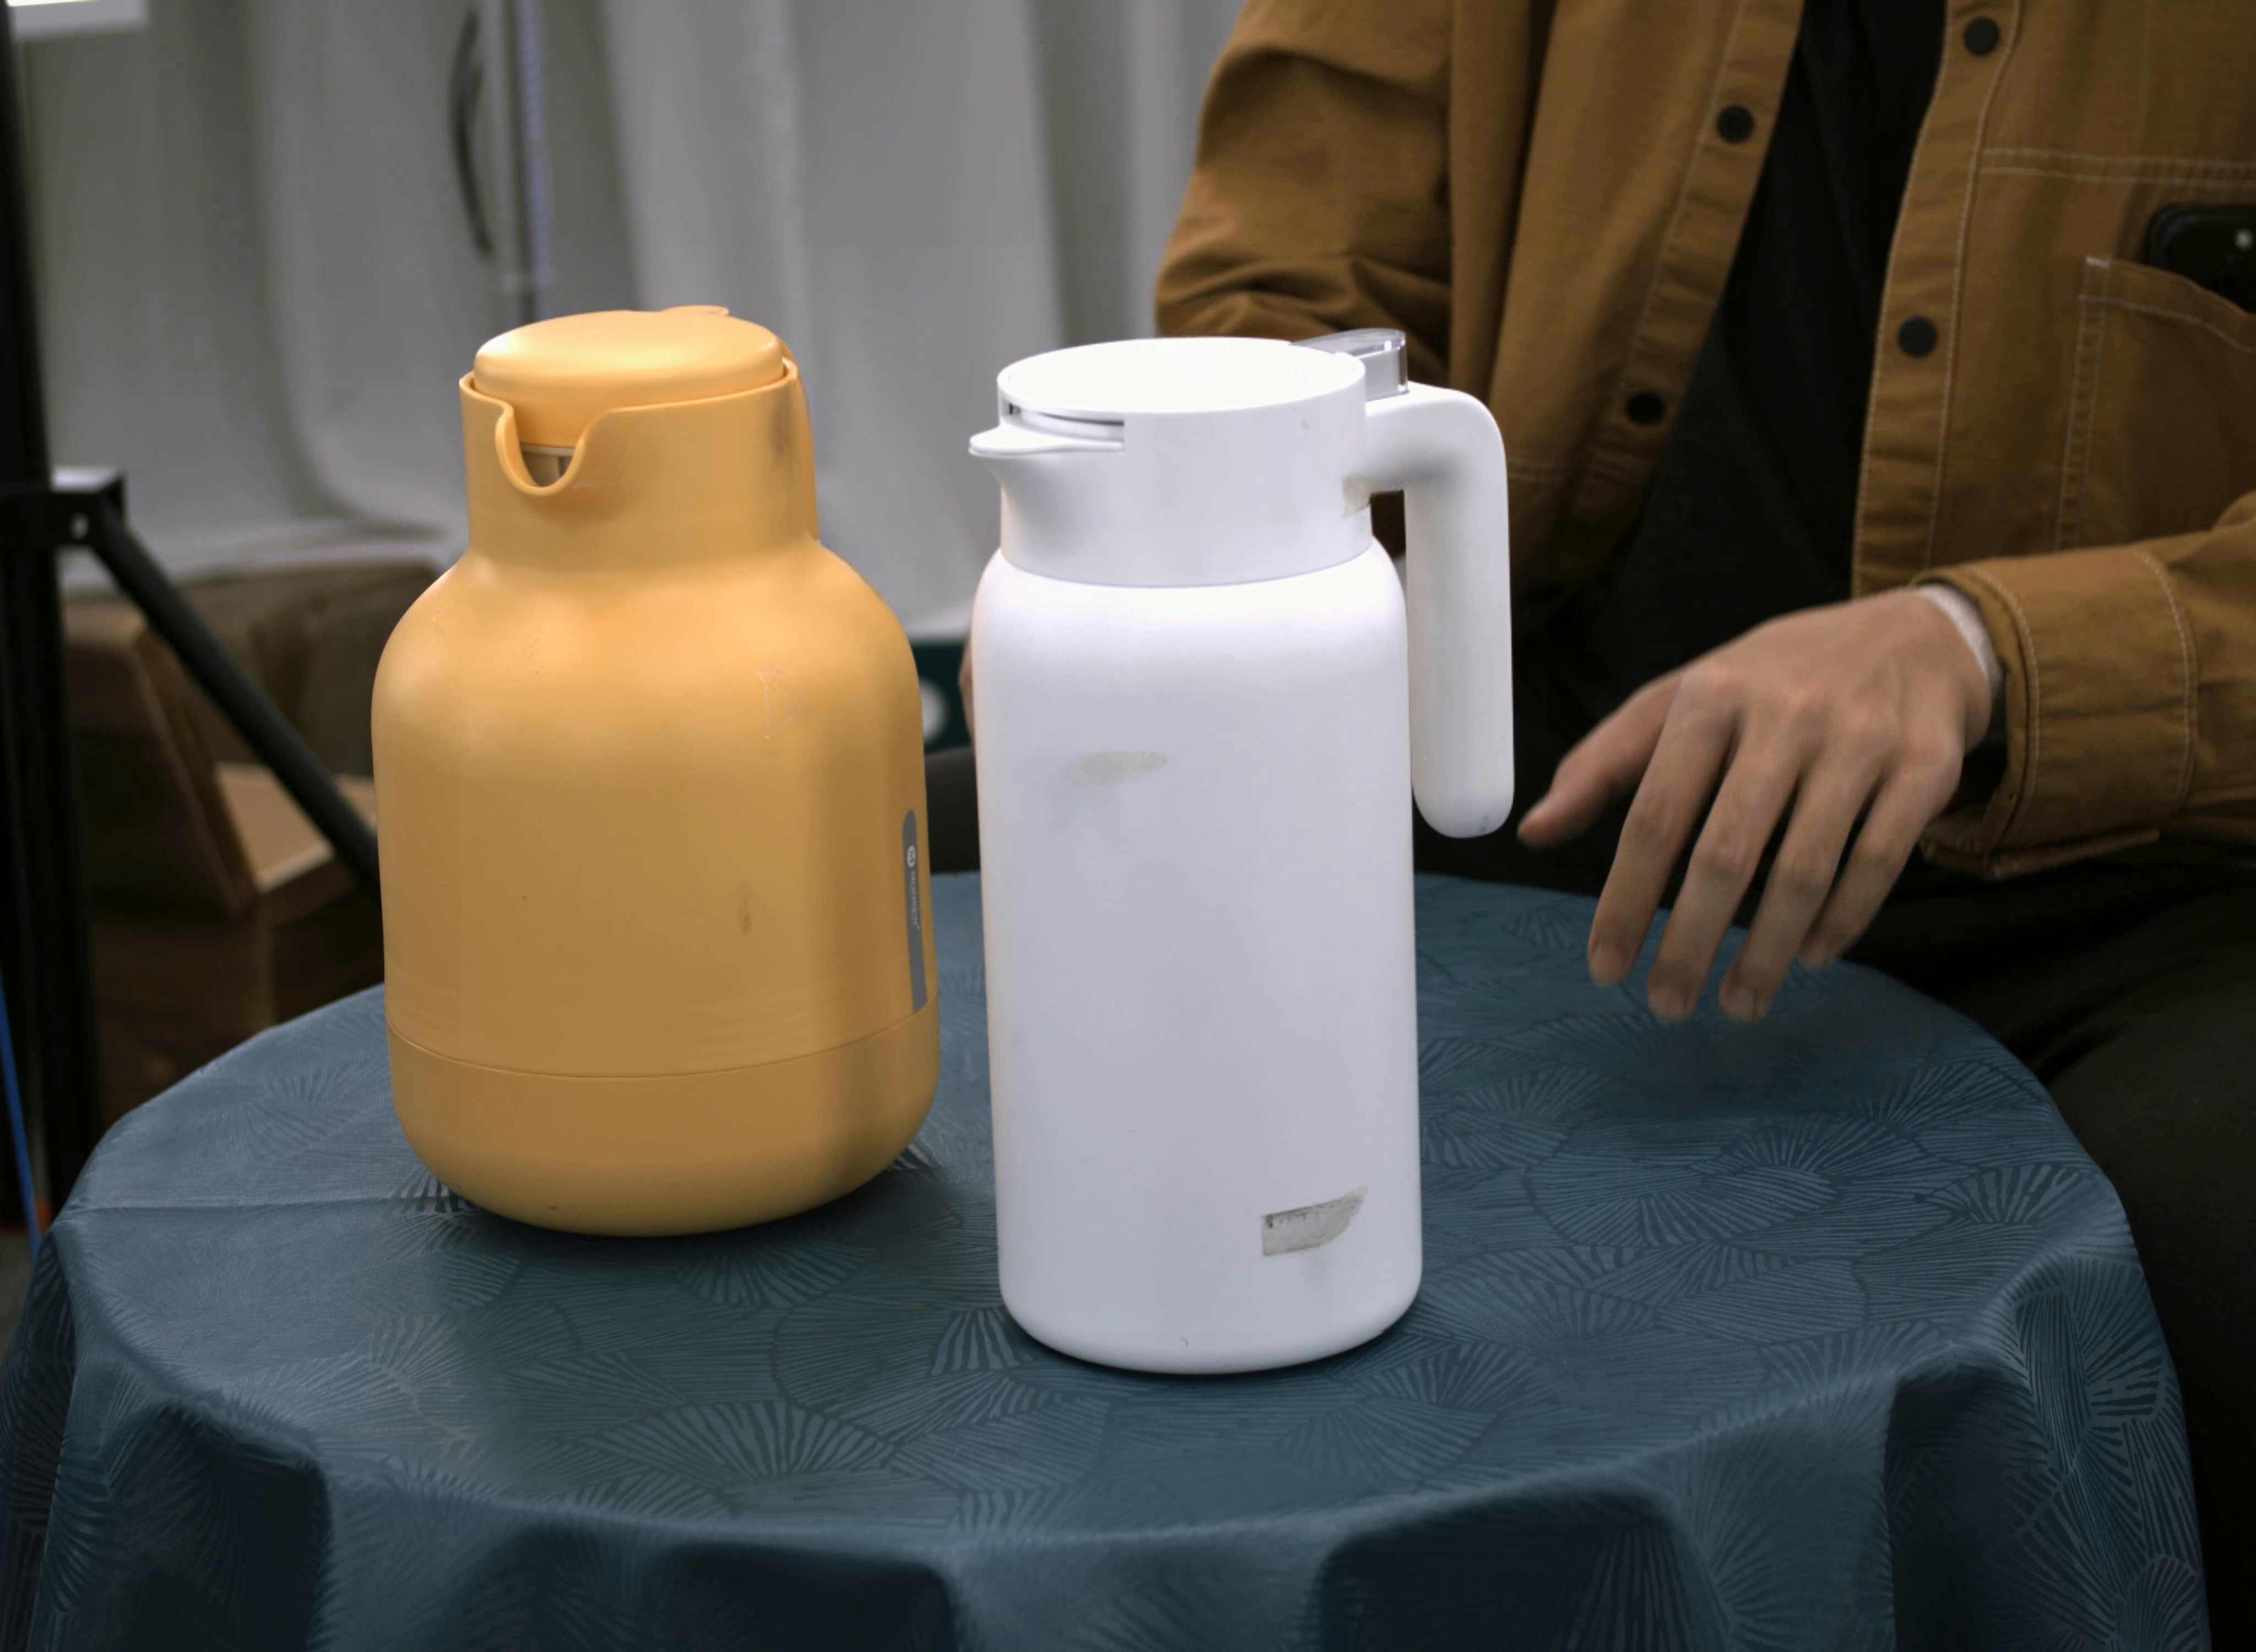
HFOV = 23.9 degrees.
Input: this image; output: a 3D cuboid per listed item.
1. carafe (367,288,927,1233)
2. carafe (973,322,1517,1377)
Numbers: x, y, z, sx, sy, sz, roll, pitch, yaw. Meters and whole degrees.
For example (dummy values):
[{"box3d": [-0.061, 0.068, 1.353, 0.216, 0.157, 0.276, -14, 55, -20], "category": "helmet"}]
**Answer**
[{"box3d": [-0.134, -0.027, 1.573, 0.165, 0.260, 0.200, 6, 18, 18], "category": "carafe"}, {"box3d": [0.032, 0.002, 1.435, 0.169, 0.269, 0.126, -13, 17, -36], "category": "carafe"}]
